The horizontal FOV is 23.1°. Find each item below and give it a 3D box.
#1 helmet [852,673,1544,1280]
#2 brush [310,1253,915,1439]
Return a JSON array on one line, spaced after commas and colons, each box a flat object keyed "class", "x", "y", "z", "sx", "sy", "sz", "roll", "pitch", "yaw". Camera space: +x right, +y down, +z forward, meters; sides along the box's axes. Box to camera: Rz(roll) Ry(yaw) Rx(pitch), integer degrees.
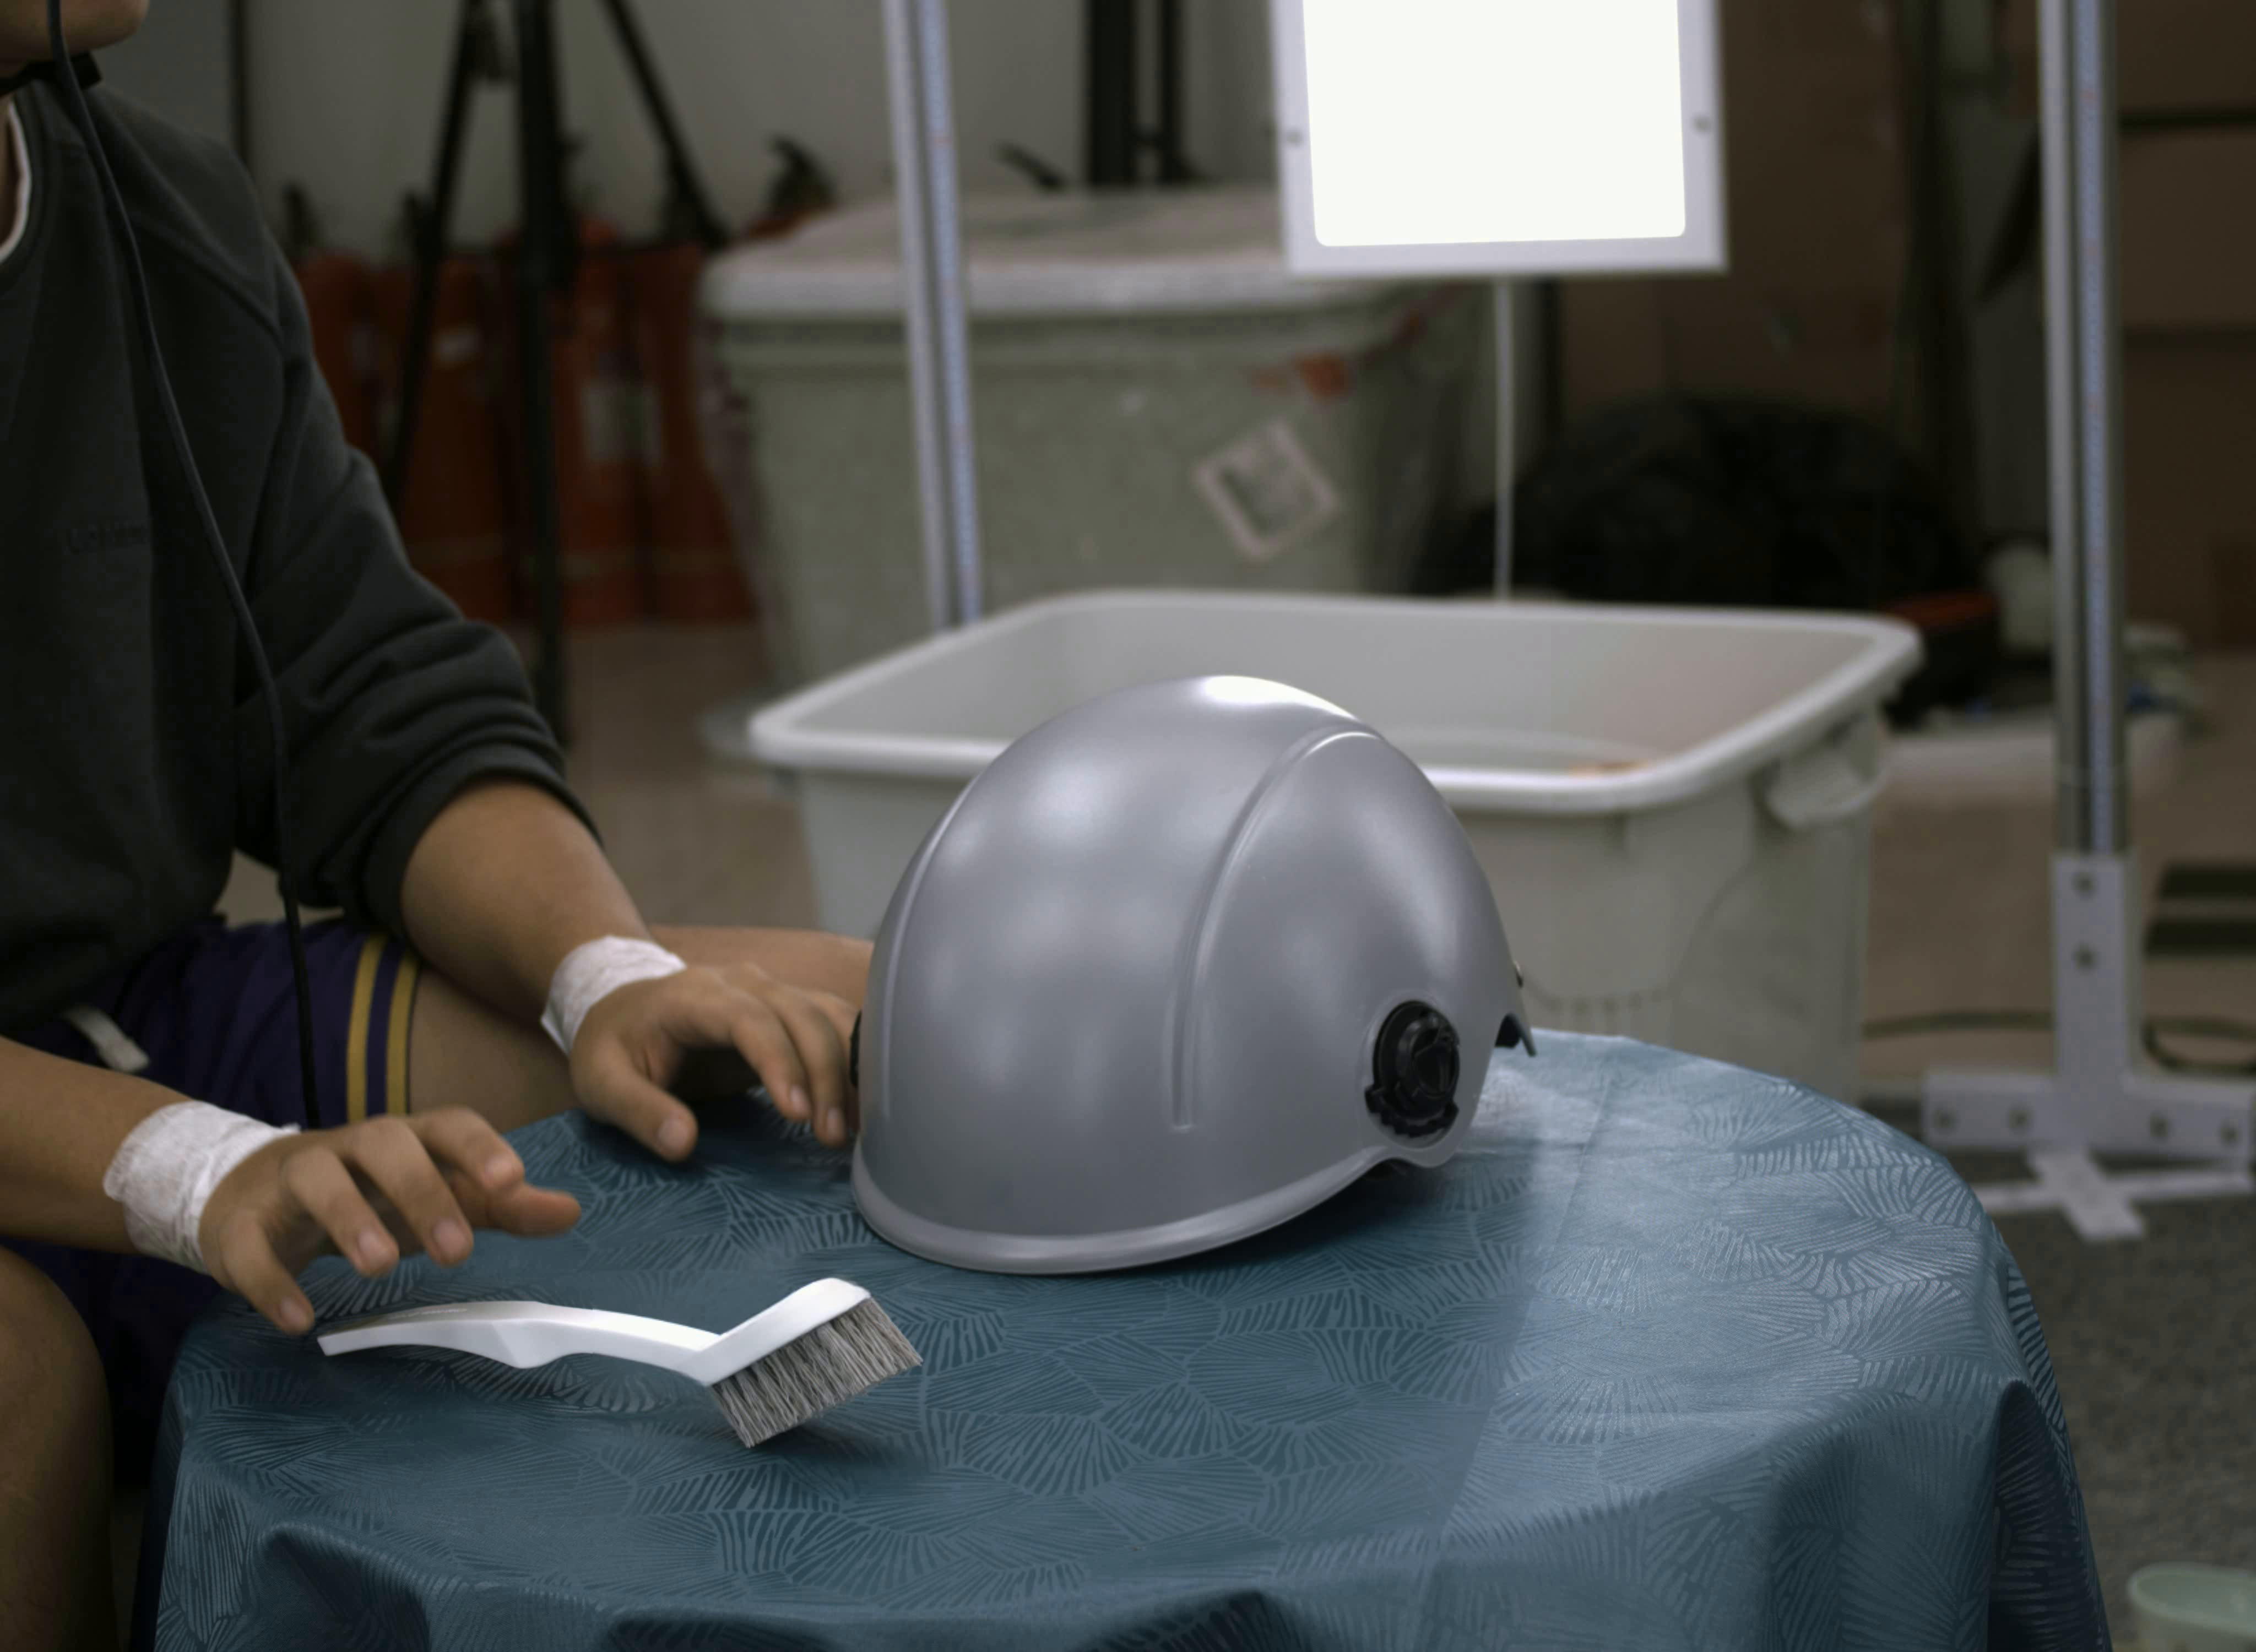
[{"class": "helmet", "x": 0.015, "y": 0.037, "z": 1.913, "sx": 0.236, "sy": 0.169, "sz": 0.270, "roll": 0, "pitch": 16, "yaw": 29}, {"class": "brush", "x": -0.165, "y": 0.171, "z": 1.729, "sx": 0.249, "sy": 0.050, "sz": 0.033, "roll": -11, "pitch": 7, "yaw": 40}]
